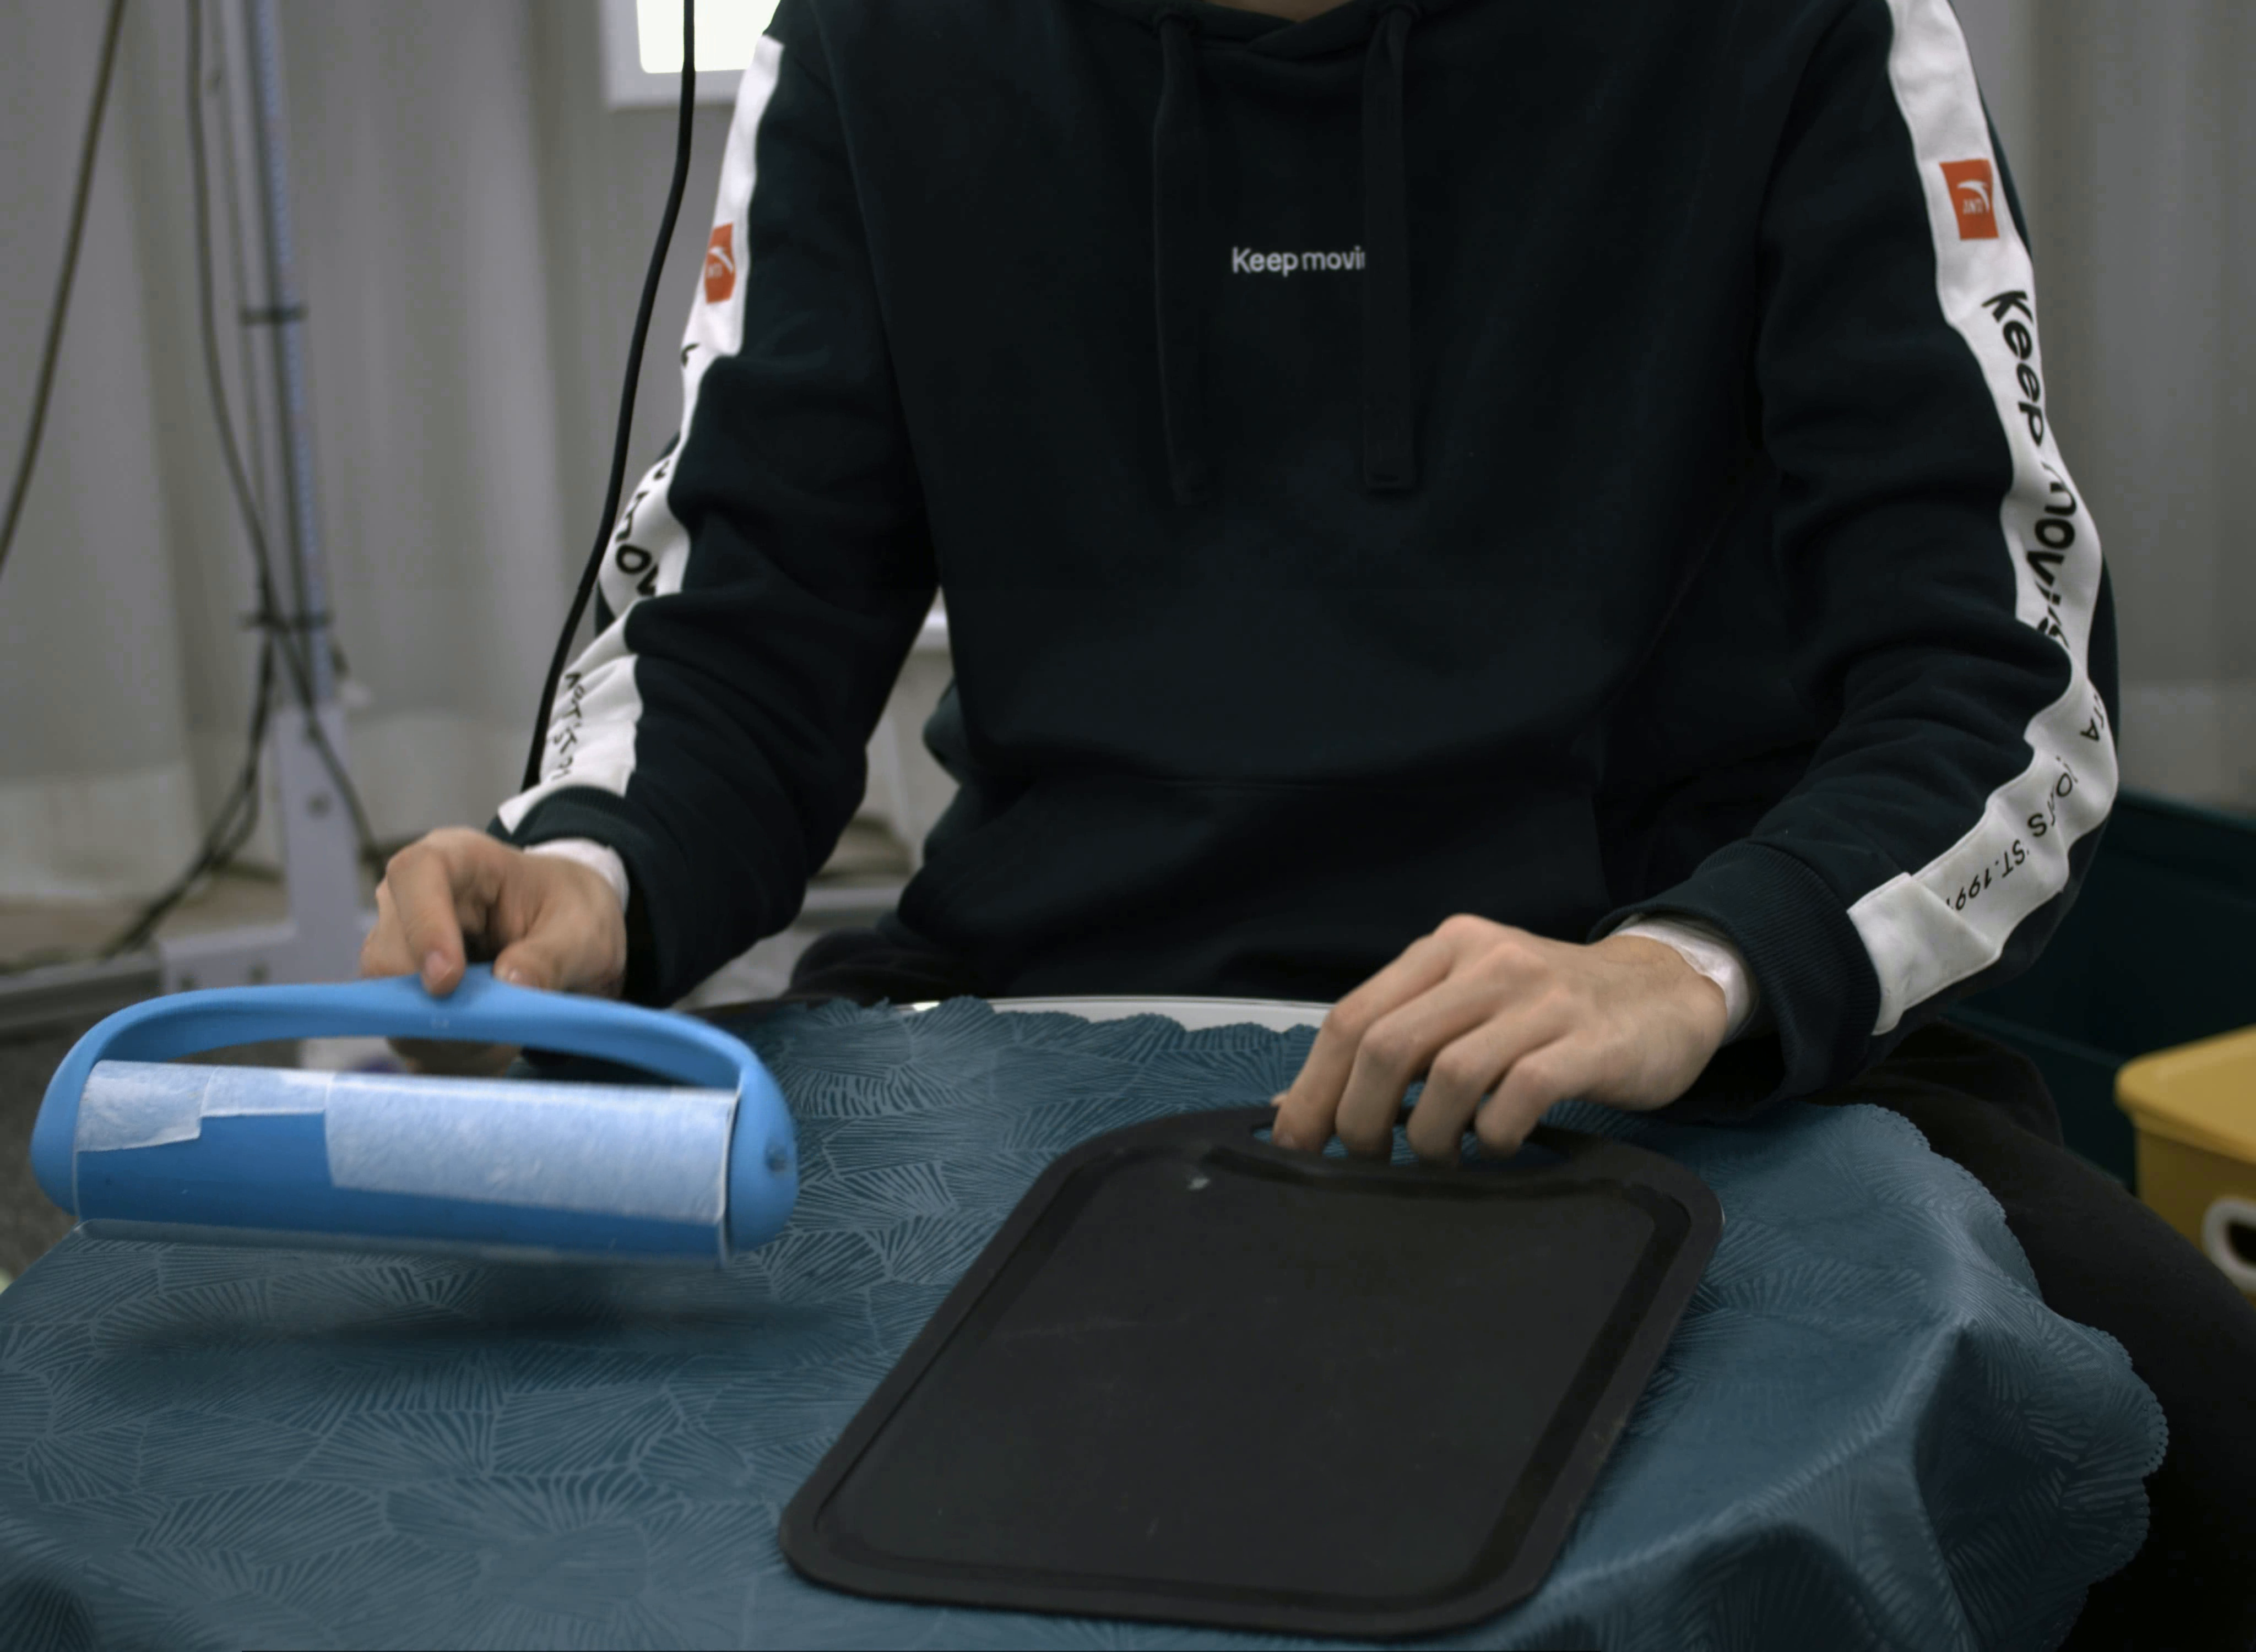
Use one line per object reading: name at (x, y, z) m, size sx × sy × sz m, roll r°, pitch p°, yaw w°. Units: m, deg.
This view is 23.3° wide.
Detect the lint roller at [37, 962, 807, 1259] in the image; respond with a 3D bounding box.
lint roller at (-0.208, 0.074, 1.673) m, size 0.228 × 0.067 × 0.182 m, roll -1°, pitch 24°, yaw 2°

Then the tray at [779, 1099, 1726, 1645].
tray at (0.043, 0.142, 1.531) m, size 0.211 × 0.010 × 0.327 m, roll 3°, pitch 22°, yaw 18°
